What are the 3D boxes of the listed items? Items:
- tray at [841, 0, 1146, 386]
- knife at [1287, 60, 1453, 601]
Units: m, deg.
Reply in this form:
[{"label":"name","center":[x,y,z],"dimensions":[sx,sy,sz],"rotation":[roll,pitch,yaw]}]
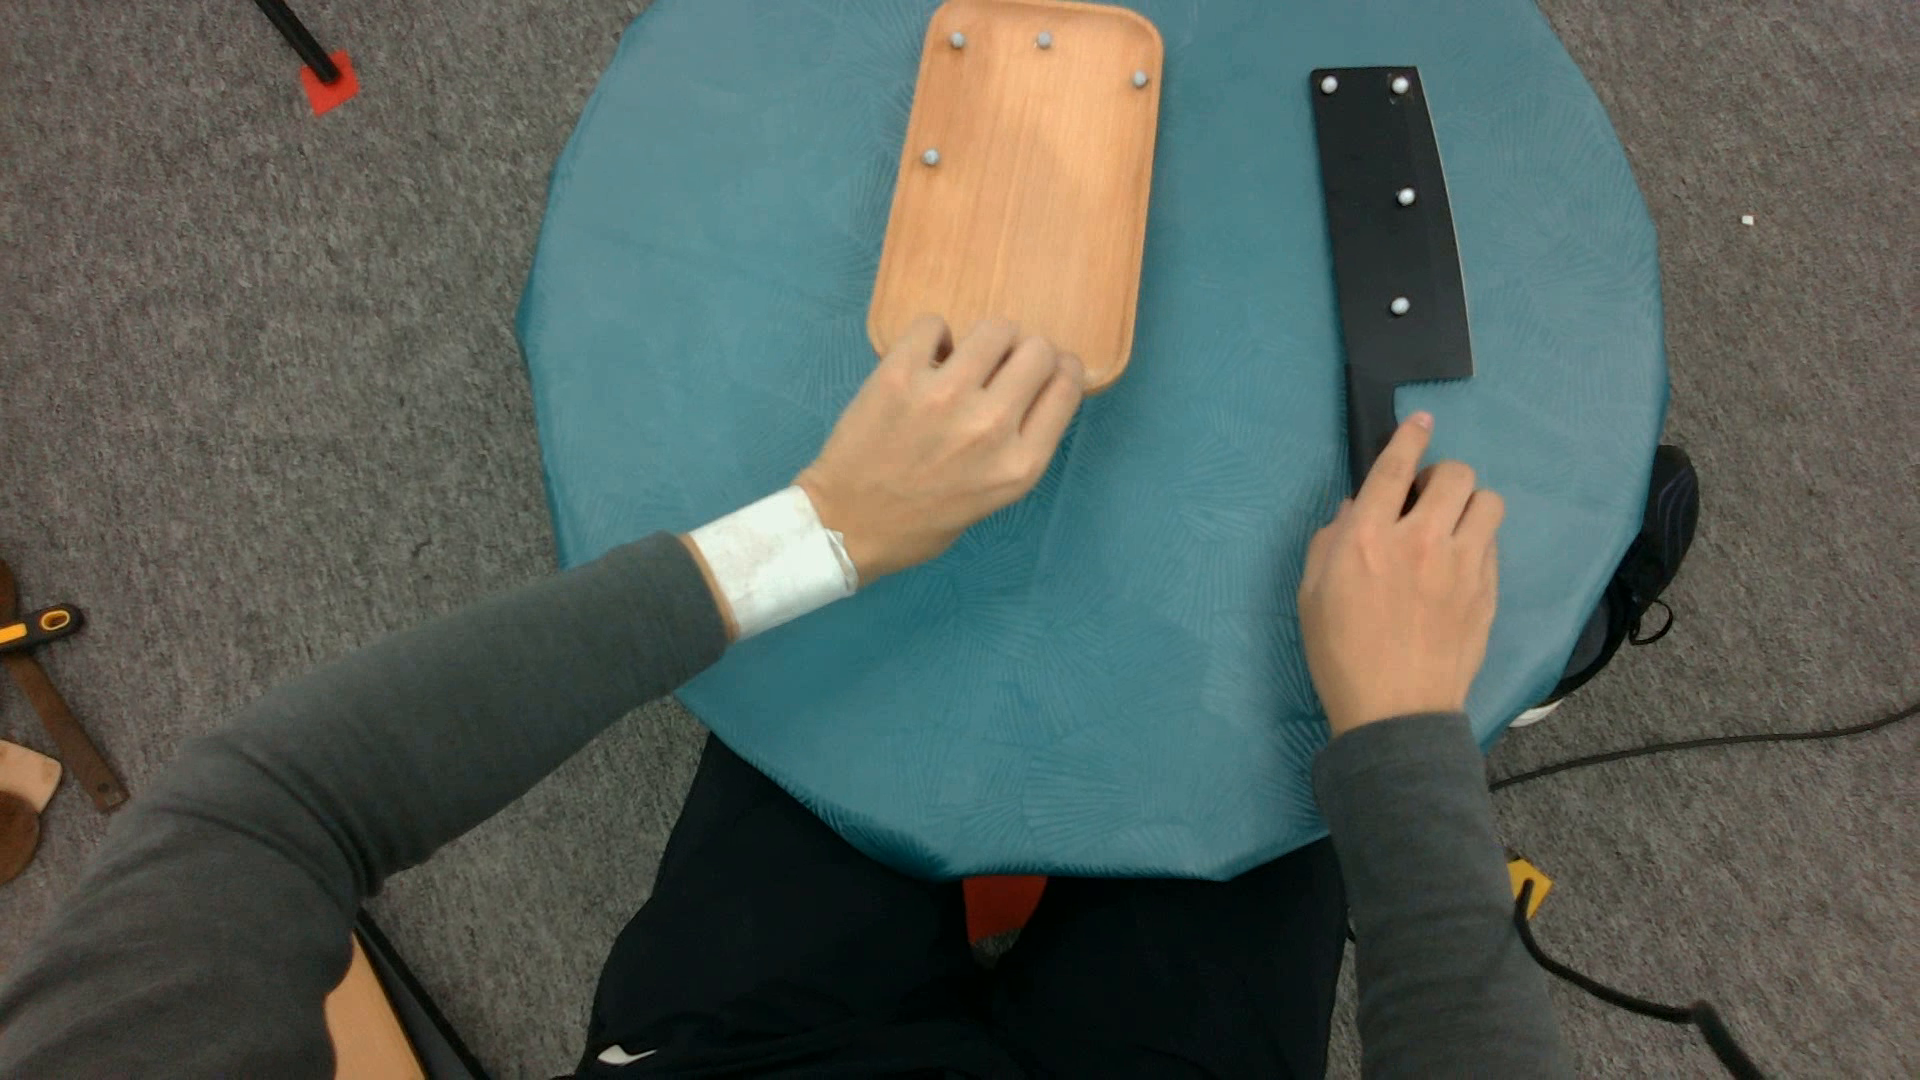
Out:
[{"label":"tray","center":[0.022,-0.184,0.698],"dimensions":[0.130,0.023,0.252],"rotation":[8,61,5]},{"label":"knife","center":[0.219,-0.117,0.721],"dimensions":[0.081,0.021,0.303],"rotation":[0,76,-2]}]
